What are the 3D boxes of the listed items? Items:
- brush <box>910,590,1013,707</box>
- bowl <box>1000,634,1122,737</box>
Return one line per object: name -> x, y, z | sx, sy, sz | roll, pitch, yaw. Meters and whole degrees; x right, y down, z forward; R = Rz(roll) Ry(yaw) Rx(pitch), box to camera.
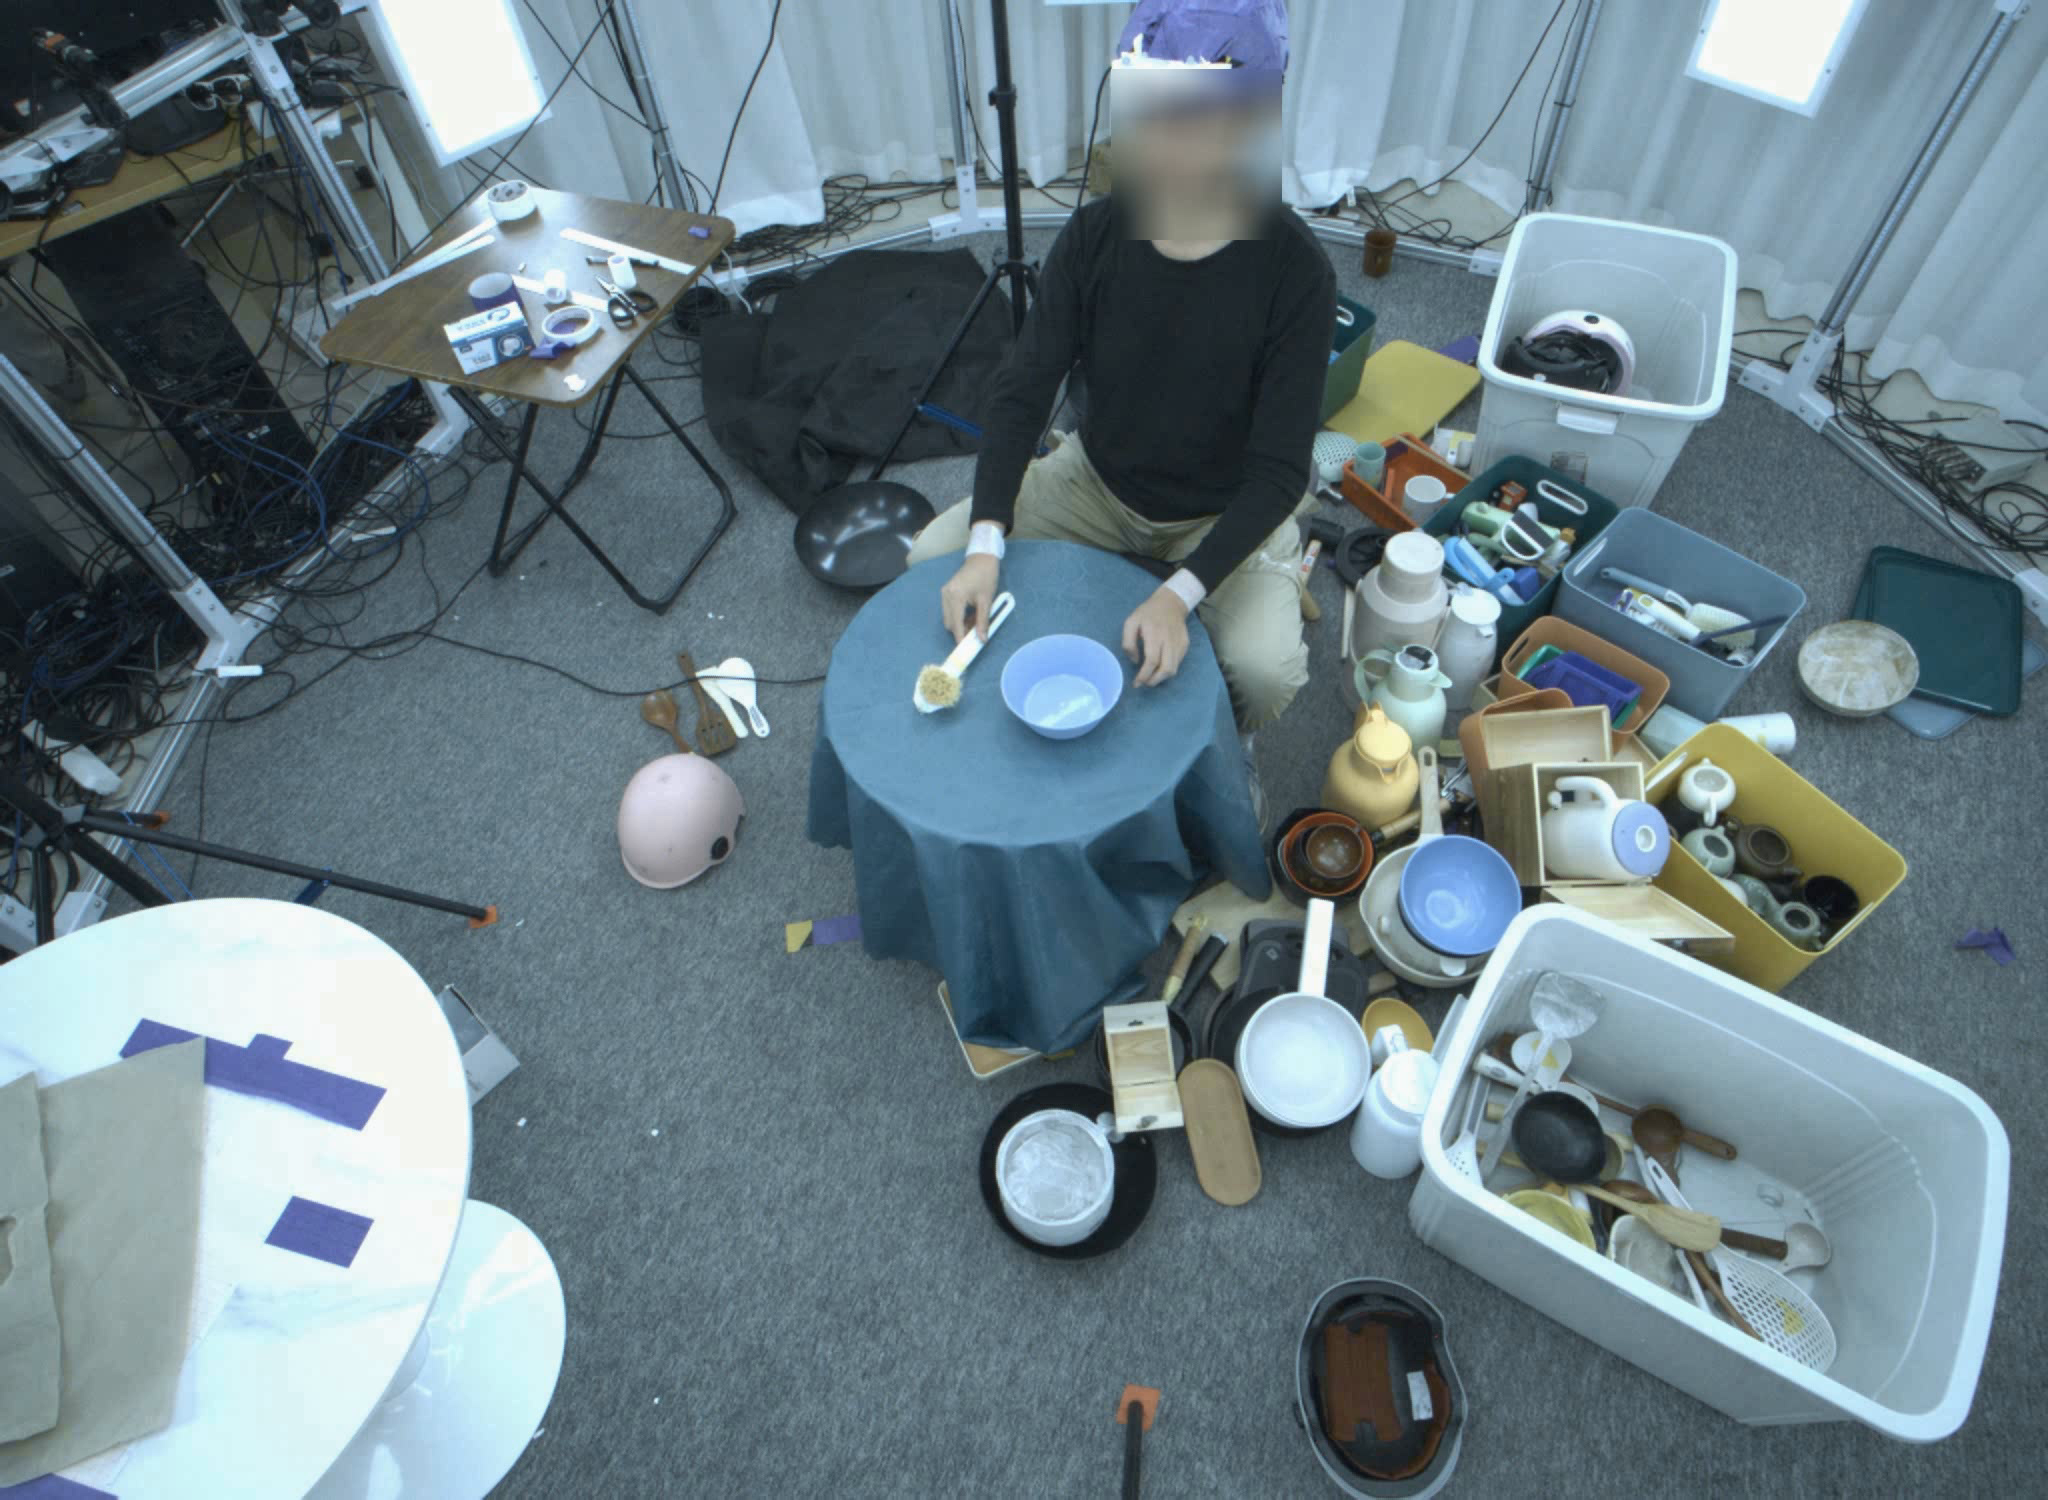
brush -> -0.083, -0.165, 1.867 | 0.069, 0.055, 0.267 | 45, 58, -13
bowl -> 0.054, -0.084, 1.801 | 0.176, 0.071, 0.174 | 0, 55, 1
